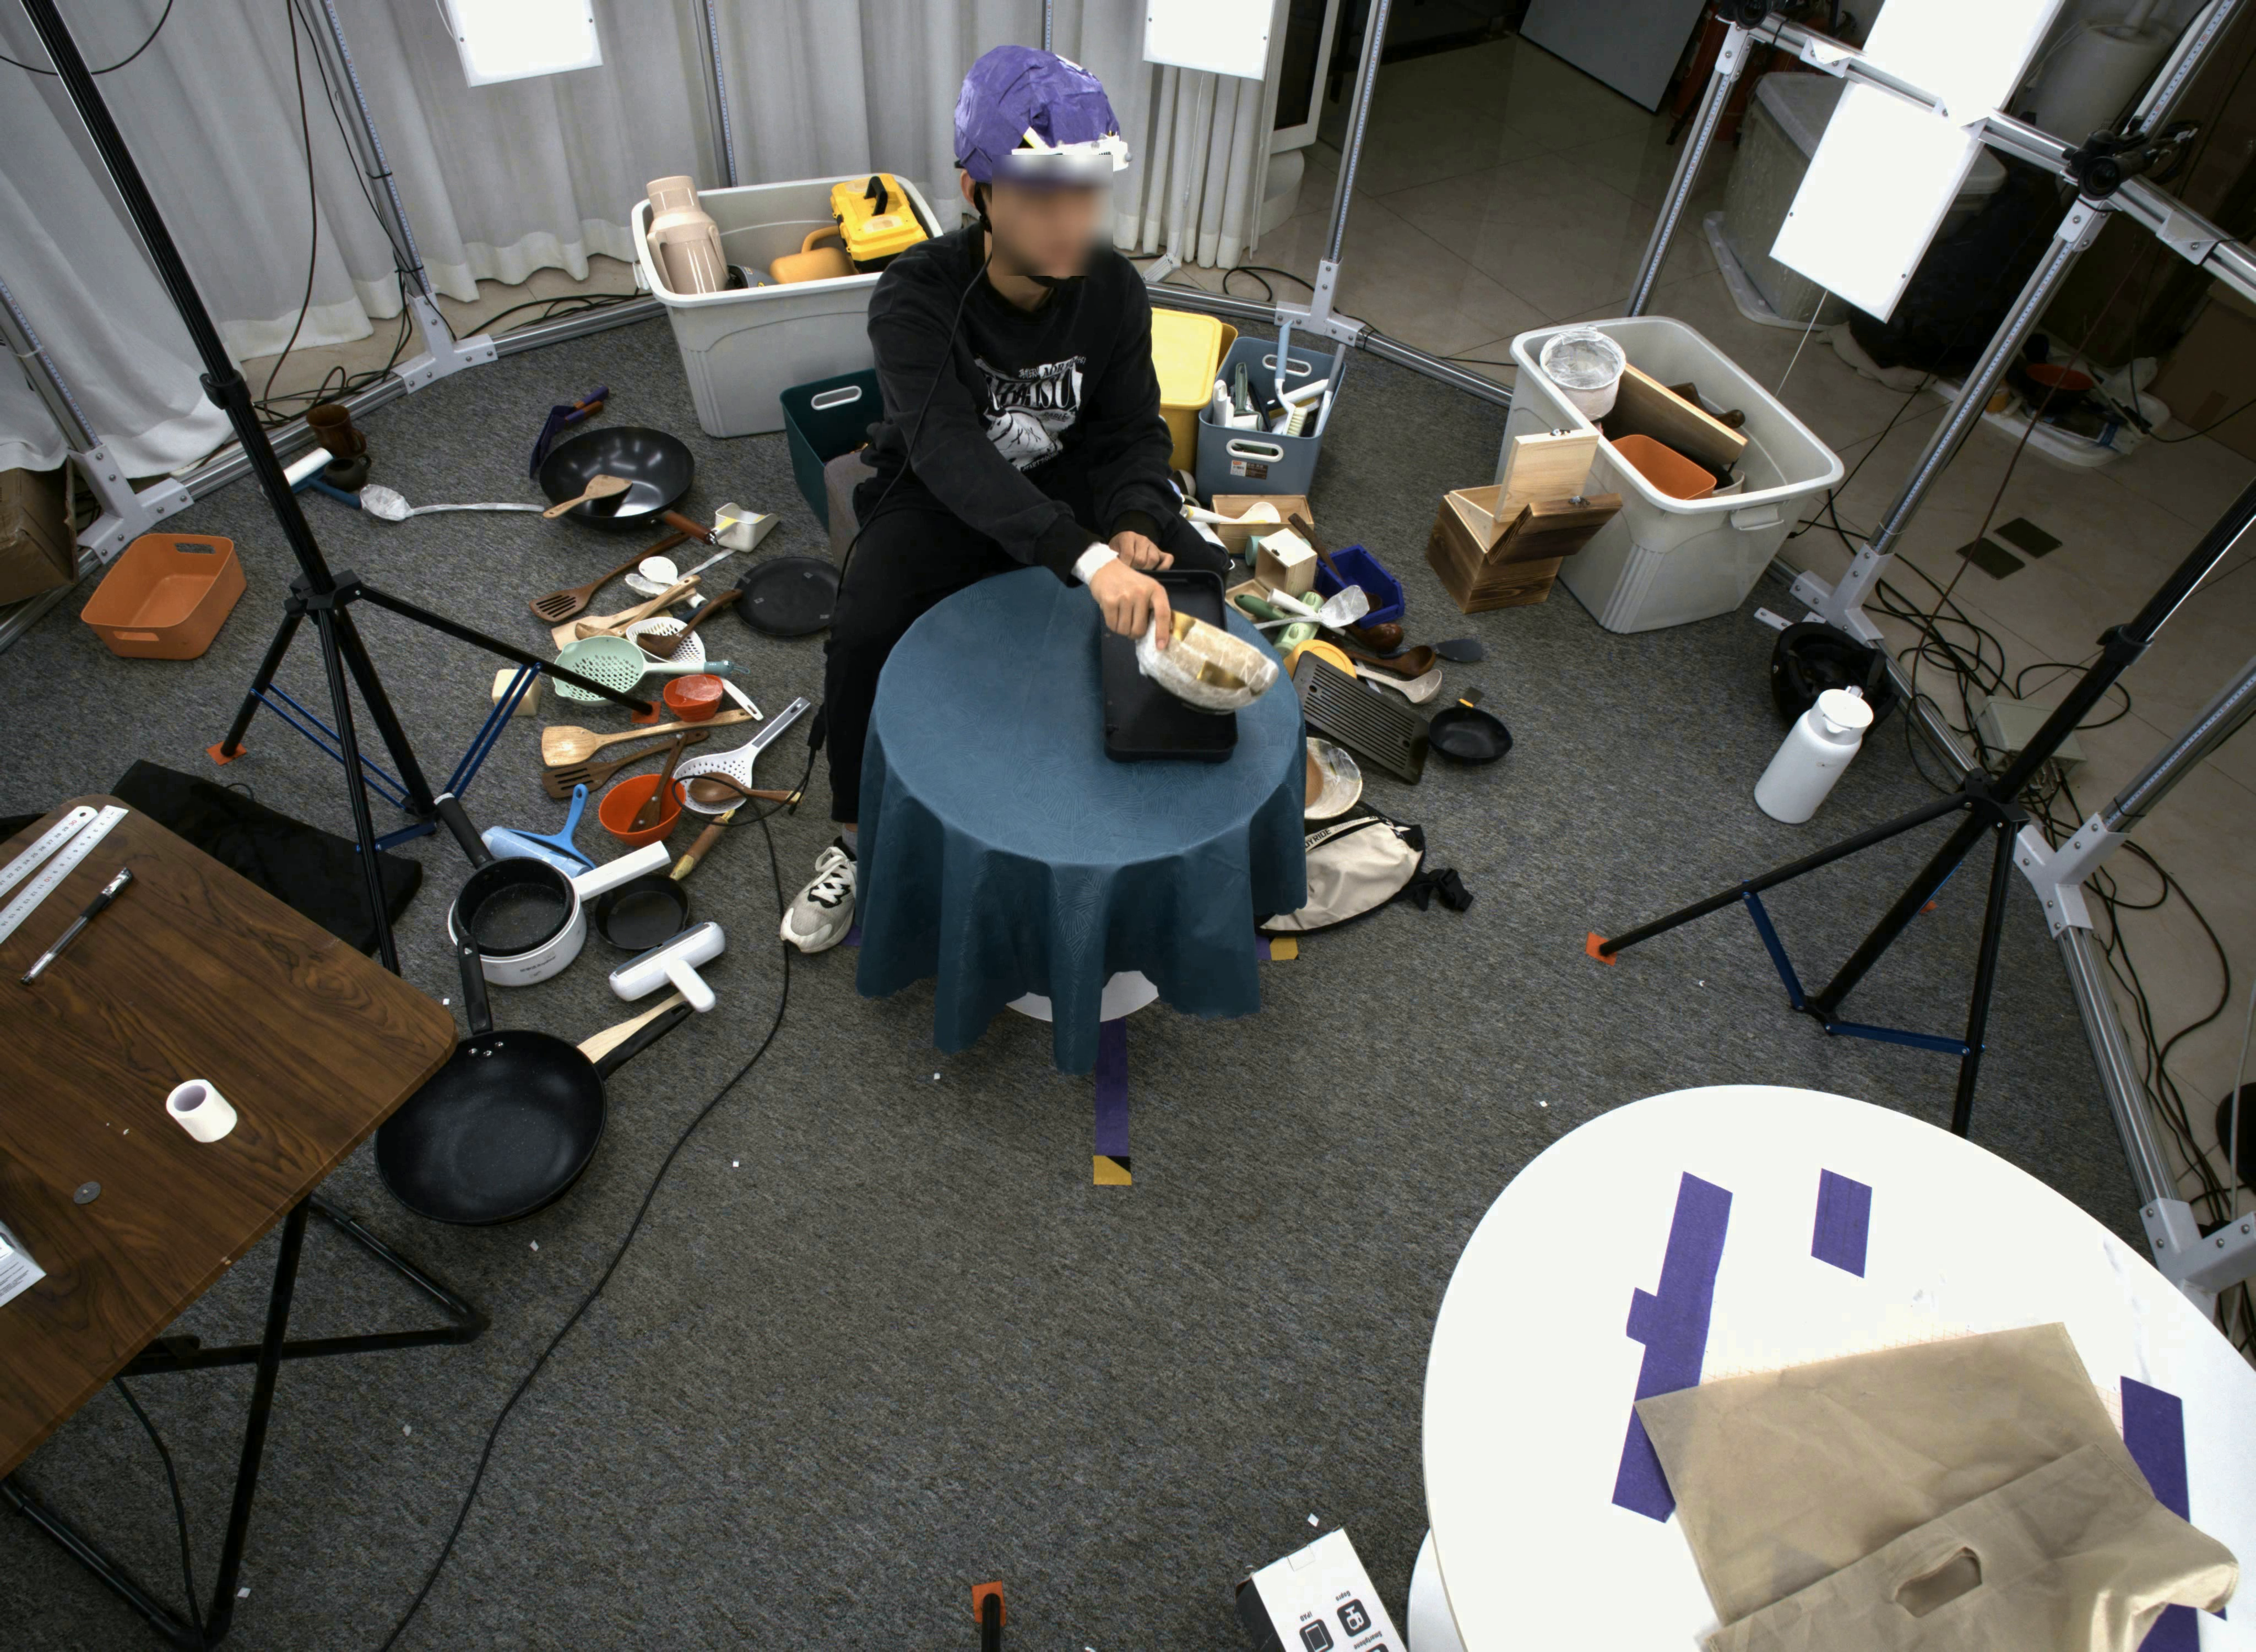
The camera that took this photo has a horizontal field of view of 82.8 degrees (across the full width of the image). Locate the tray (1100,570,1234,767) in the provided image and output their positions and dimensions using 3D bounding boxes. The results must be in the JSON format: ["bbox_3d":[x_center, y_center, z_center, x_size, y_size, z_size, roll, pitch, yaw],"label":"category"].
[{"bbox_3d":[0.052,-0.229,1.834,0.184,0.036,0.325,2,59,-4],"label":"tray"}]

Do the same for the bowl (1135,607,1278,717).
[{"bbox_3d":[0.090,-0.204,1.721,0.216,0.212,0.095,25,89,16],"label":"bowl"}]
